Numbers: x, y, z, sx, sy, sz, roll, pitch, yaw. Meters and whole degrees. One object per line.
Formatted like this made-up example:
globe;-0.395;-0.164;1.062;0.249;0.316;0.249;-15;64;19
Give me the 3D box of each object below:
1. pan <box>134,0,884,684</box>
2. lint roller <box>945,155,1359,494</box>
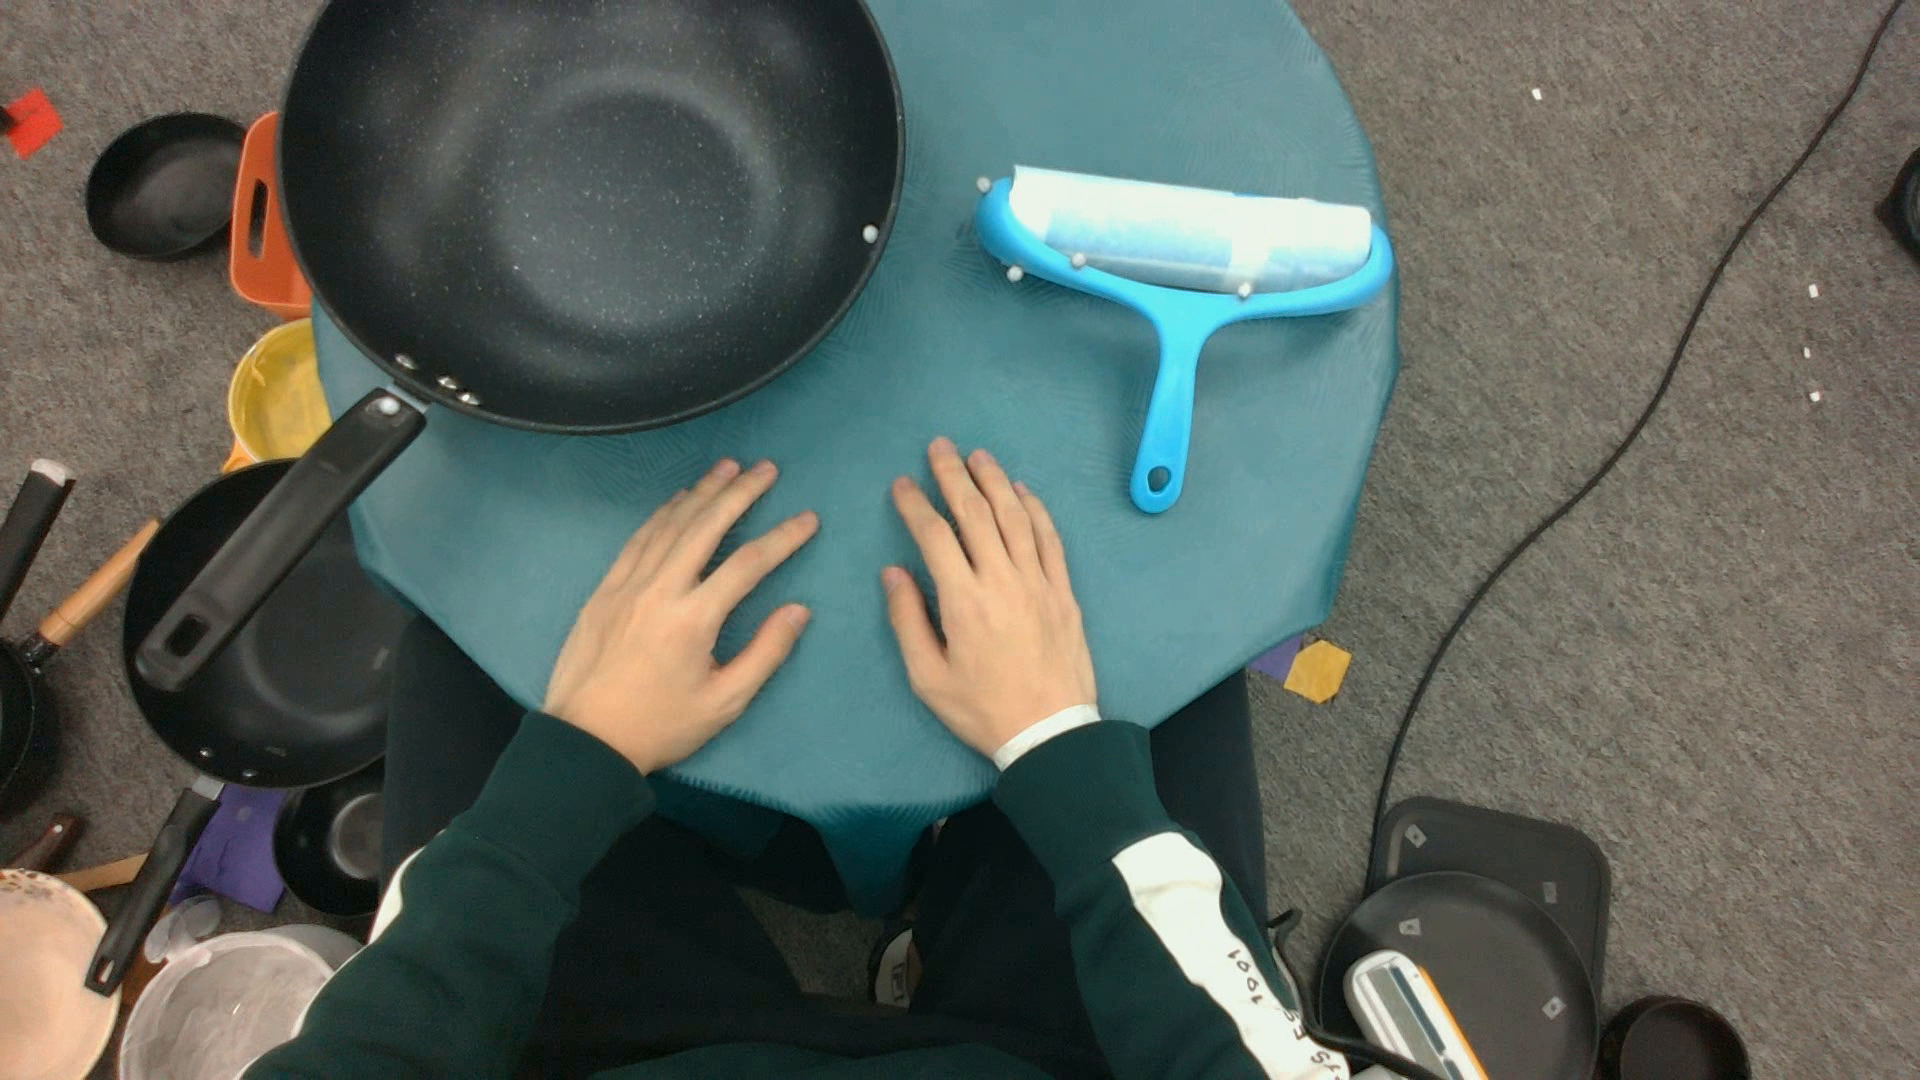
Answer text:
pan;-0.235;-0.131;0.698;0.310;0.111;0.478;28;77;5
lint roller;0.105;-0.119;0.744;0.229;0.068;0.180;2;75;-6
